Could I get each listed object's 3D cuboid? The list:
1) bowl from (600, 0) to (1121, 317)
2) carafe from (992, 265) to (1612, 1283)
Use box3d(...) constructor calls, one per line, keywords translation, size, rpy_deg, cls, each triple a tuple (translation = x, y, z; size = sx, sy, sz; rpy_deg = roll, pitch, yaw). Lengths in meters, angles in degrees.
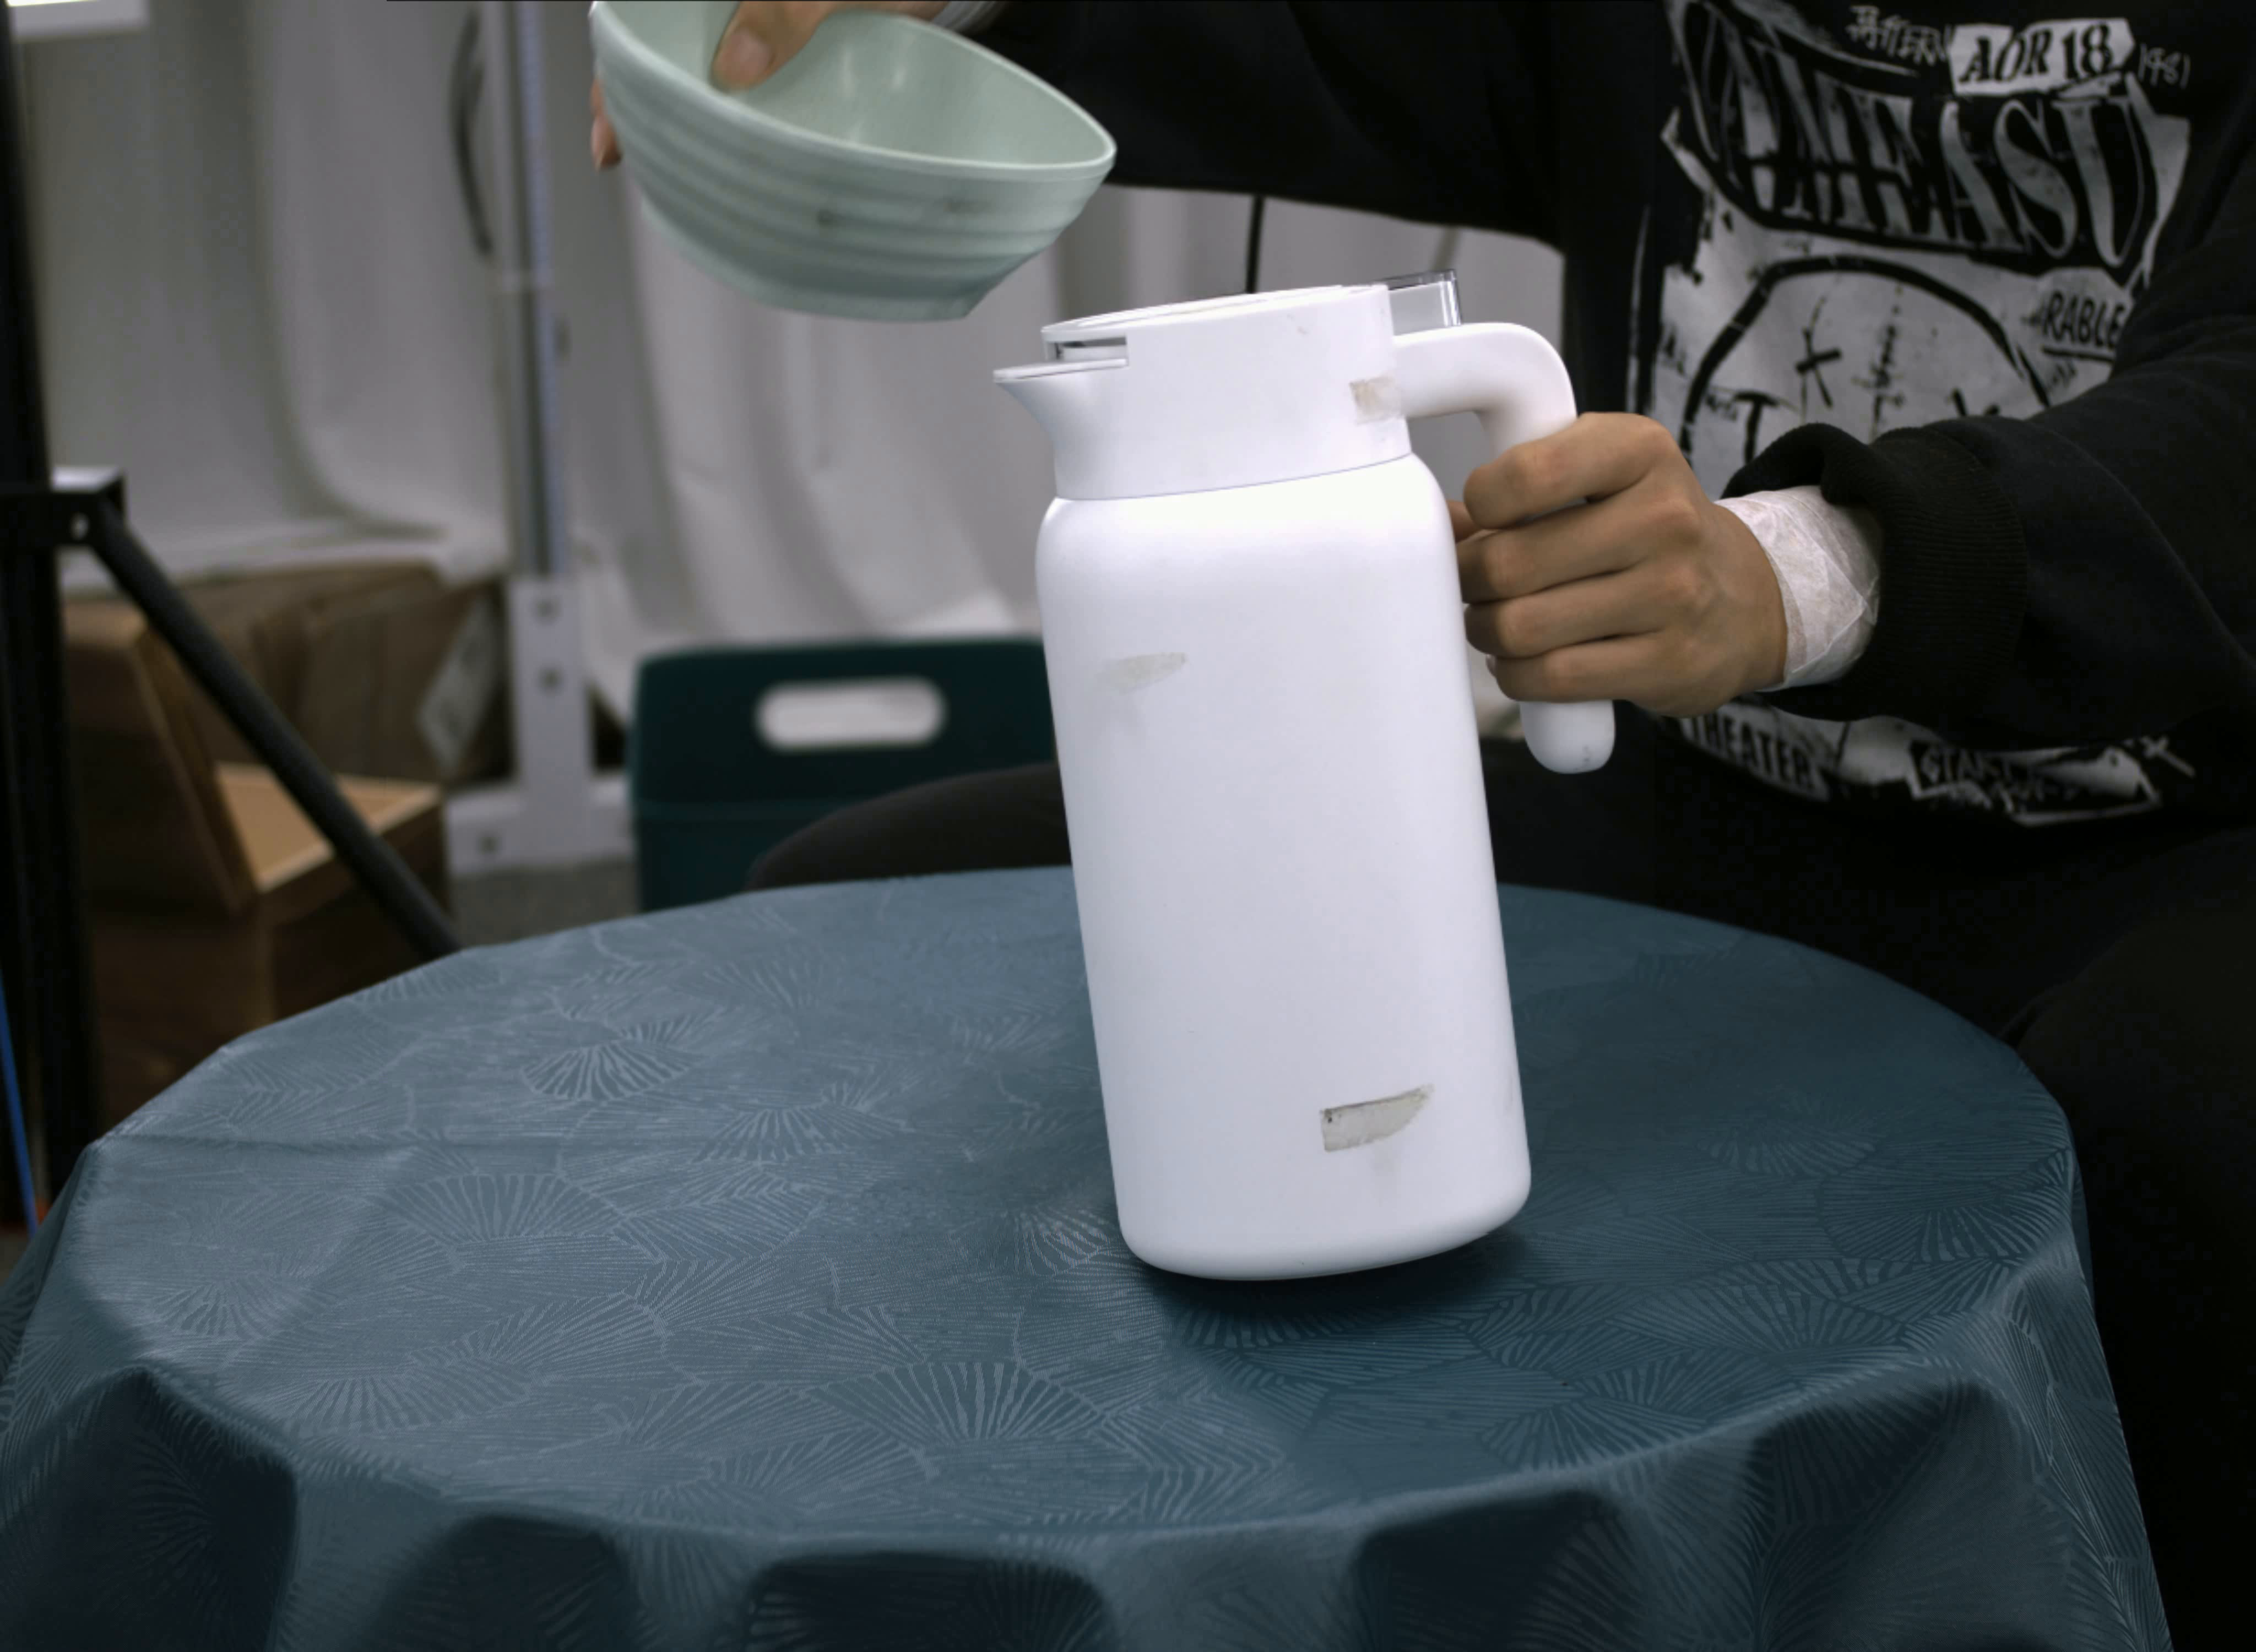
box3d(translation=(-0.081, -0.185, 1.486), size=(0.150, 0.059, 0.152), rpy_deg=(15, 22, -8), cls="bowl")
box3d(translation=(0.055, -0.018, 1.482), size=(0.169, 0.269, 0.126), rpy_deg=(-11, 5, -25), cls="carafe")
